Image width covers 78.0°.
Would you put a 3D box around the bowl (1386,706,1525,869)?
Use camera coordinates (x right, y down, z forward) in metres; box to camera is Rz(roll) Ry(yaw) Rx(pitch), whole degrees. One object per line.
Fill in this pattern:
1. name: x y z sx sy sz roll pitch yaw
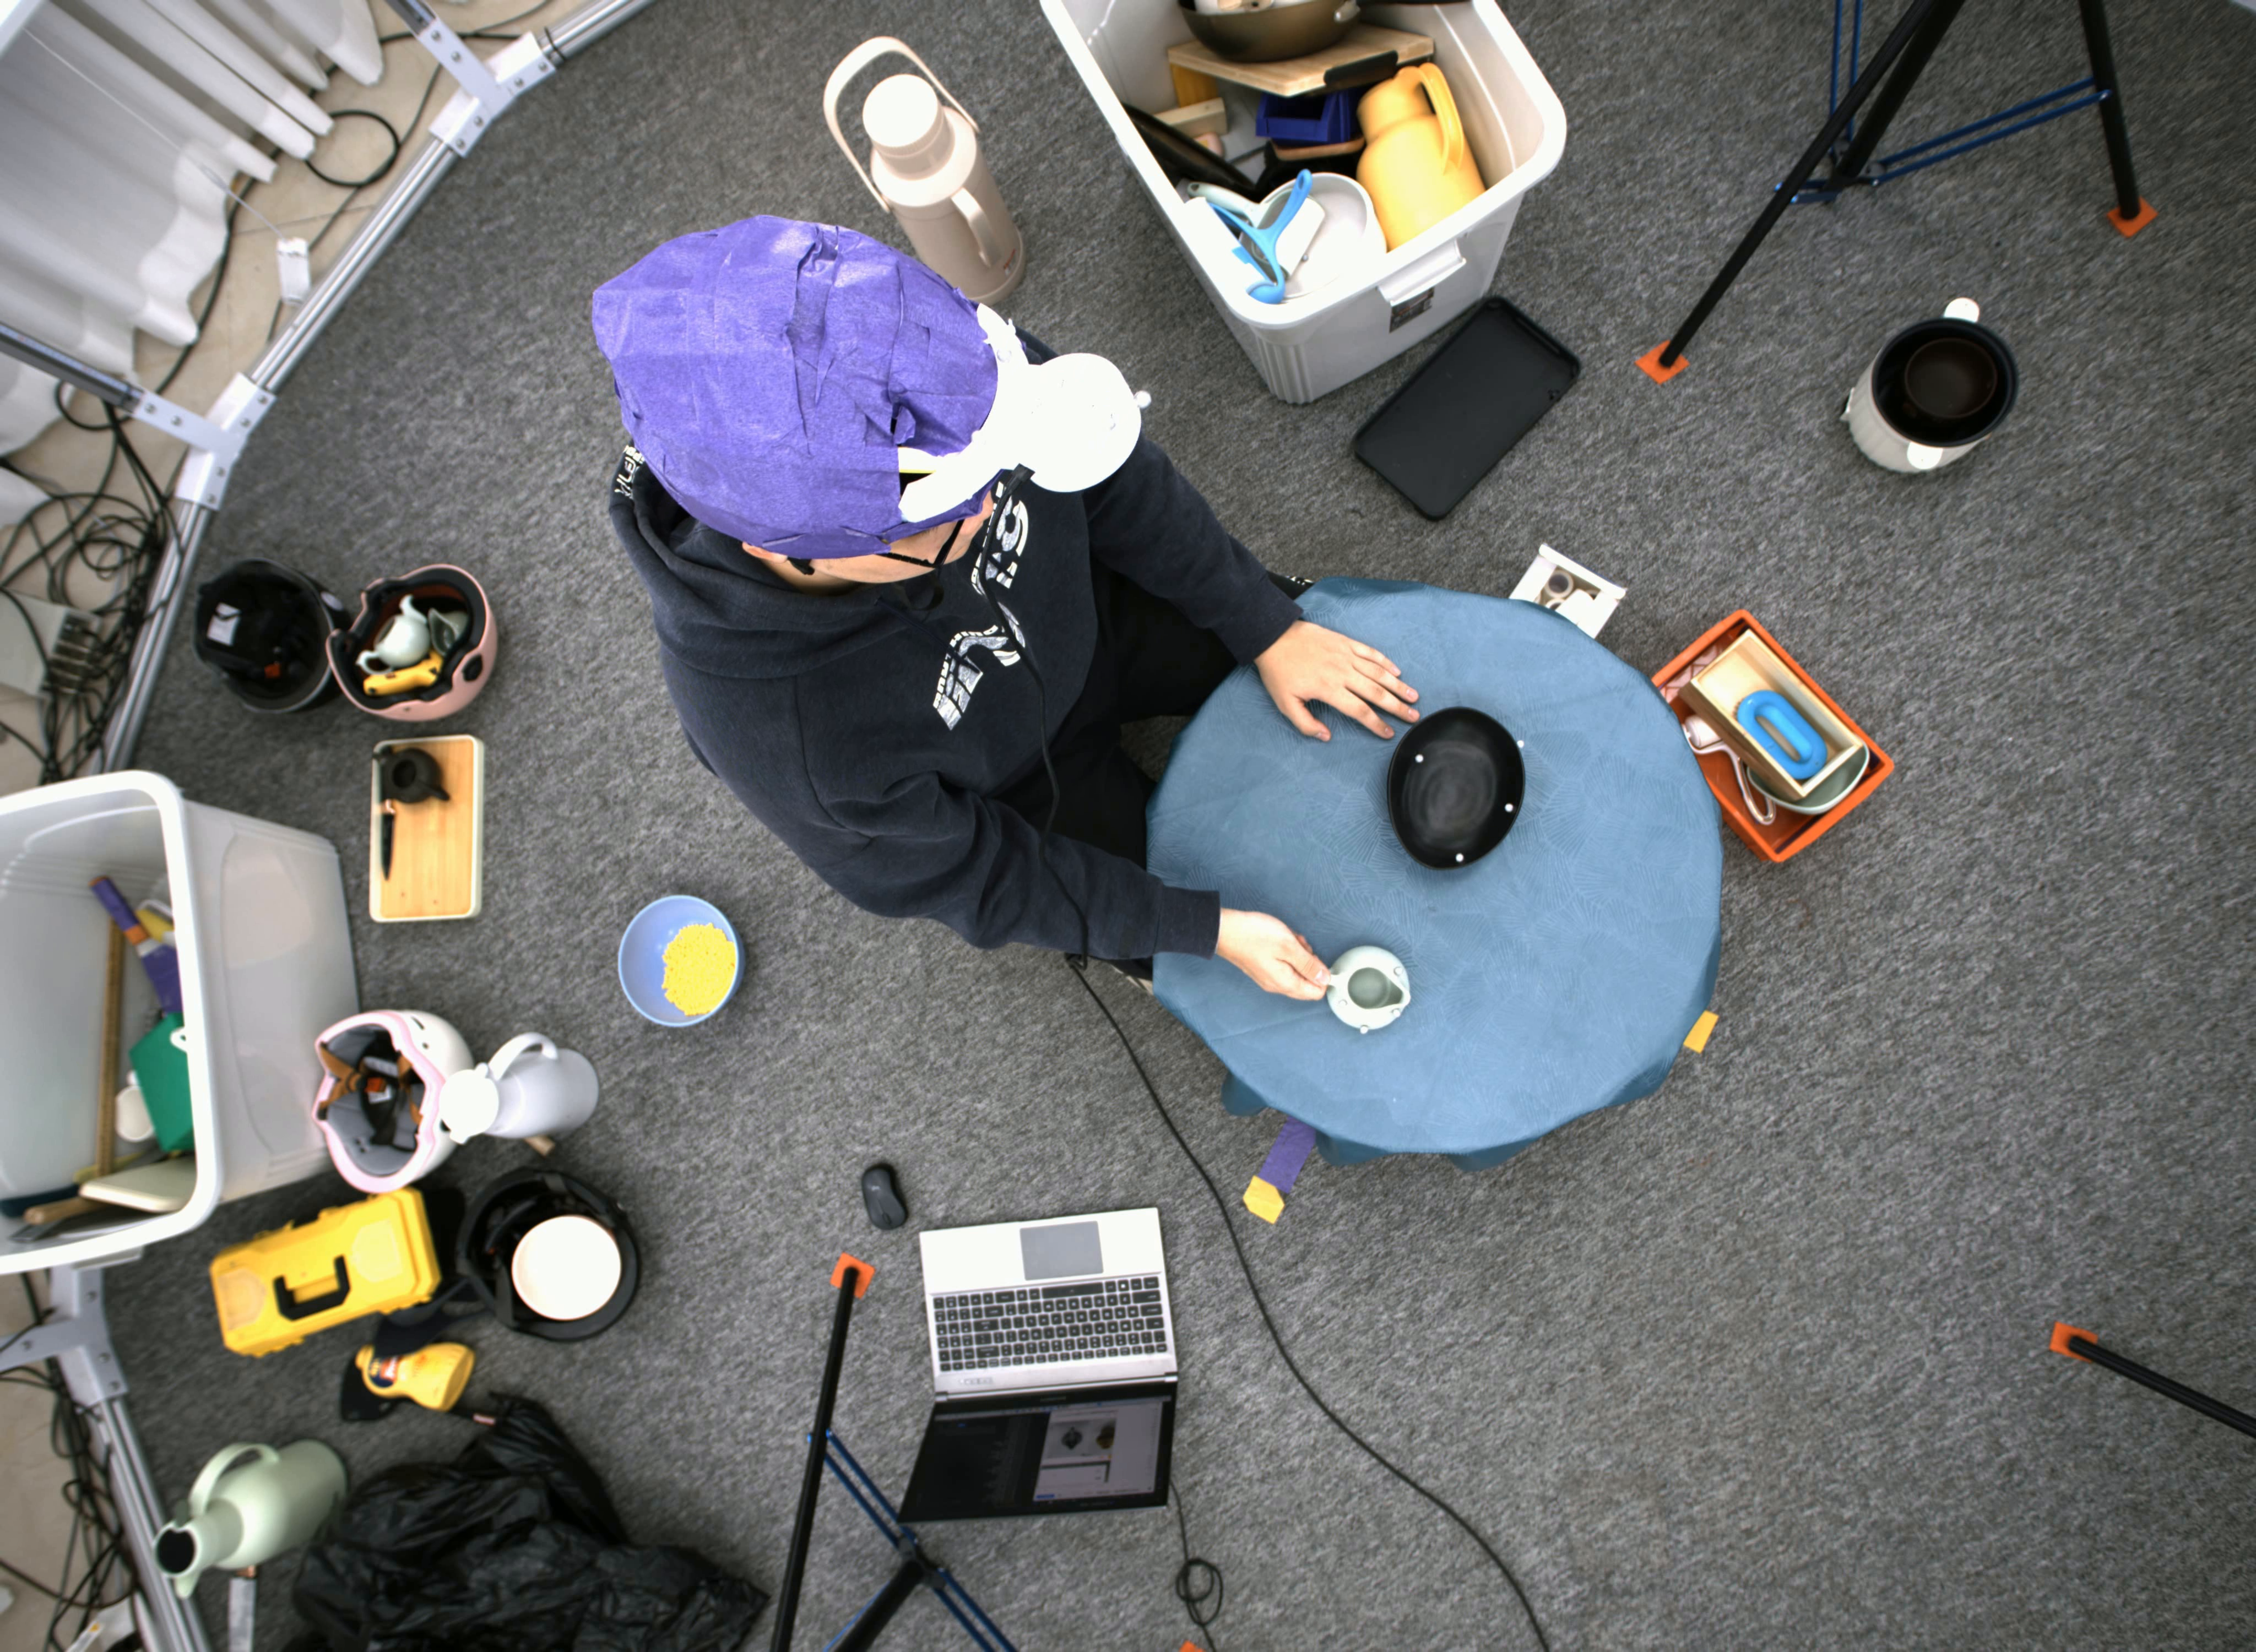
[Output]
1. bowl: 0.337 -0.039 1.423 0.137 0.066 0.170 12 89 12

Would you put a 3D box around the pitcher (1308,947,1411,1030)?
1. pitcher: 0.239 0.164 1.431 0.108 0.060 0.086 13 87 9
